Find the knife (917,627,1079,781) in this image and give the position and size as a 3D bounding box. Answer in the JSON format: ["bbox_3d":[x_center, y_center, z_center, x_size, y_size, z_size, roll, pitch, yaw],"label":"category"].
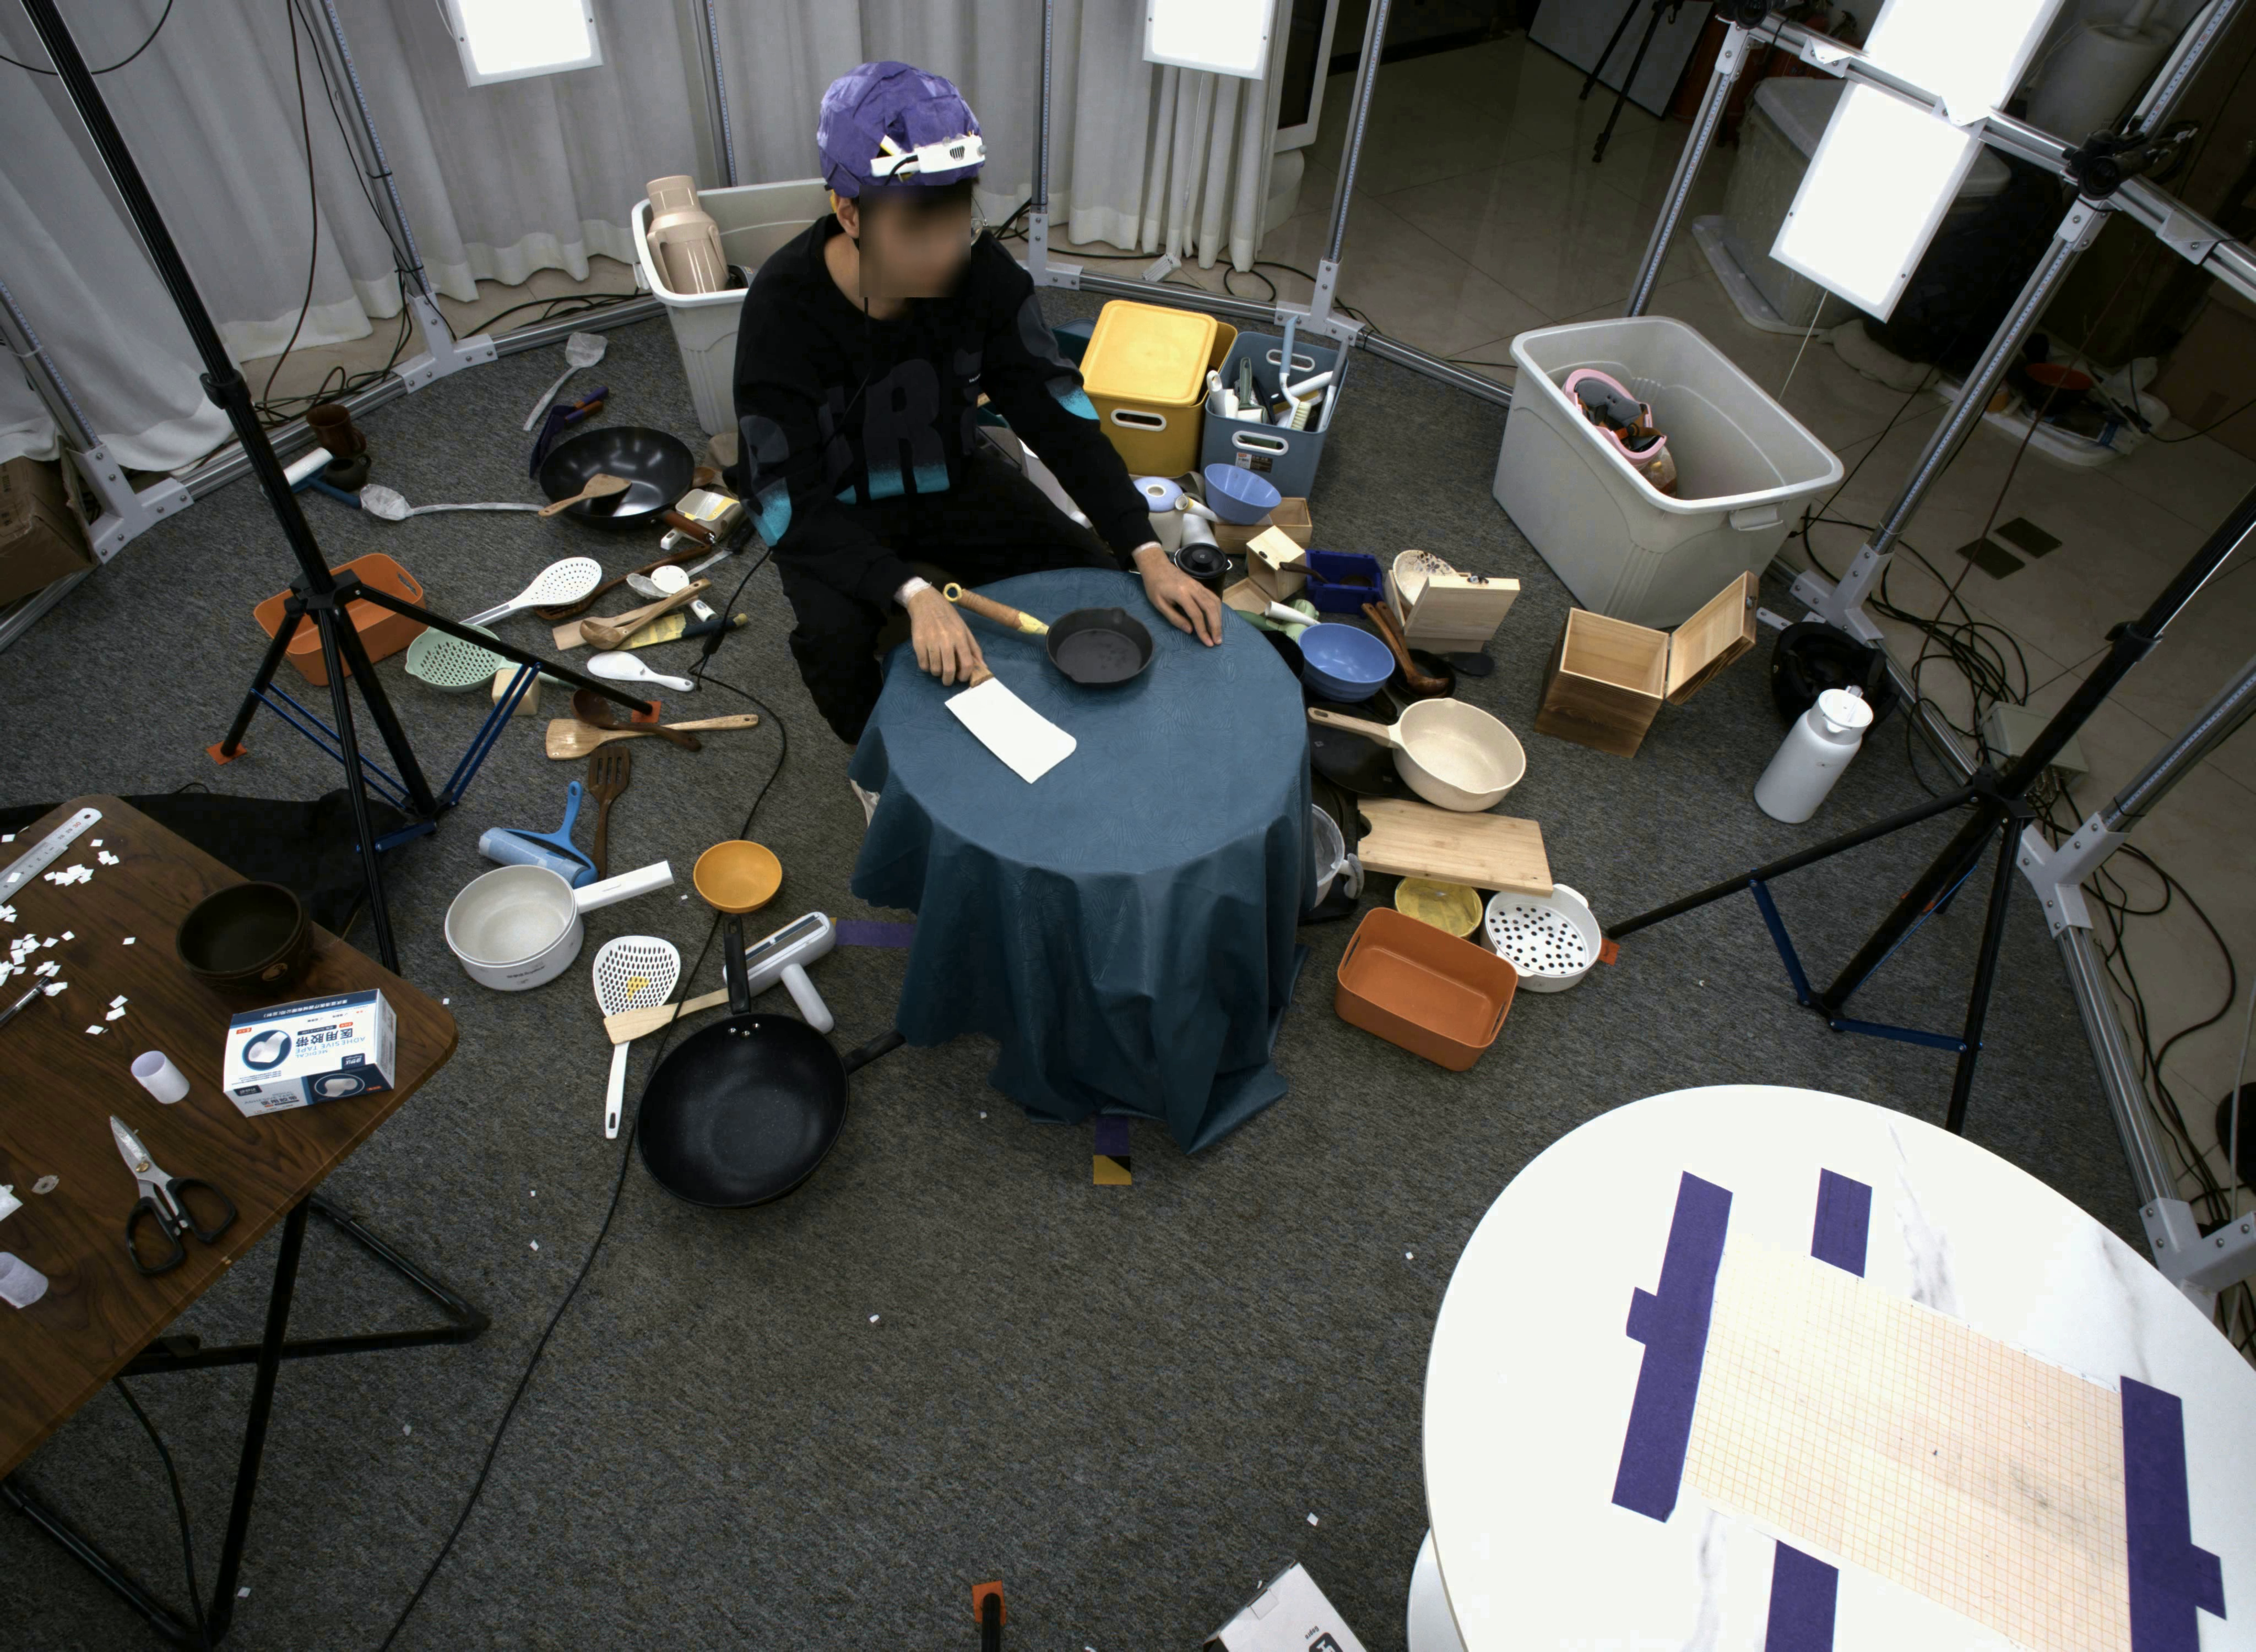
[{"bbox_3d":[-0.192,-0.179,1.799,0.114,0.021,0.321,-30,60,-26],"label":"knife"}]

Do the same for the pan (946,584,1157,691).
[{"bbox_3d":[-0.115,-0.285,1.876,0.325,0.048,0.172,20,51,11],"label":"pan"}]
